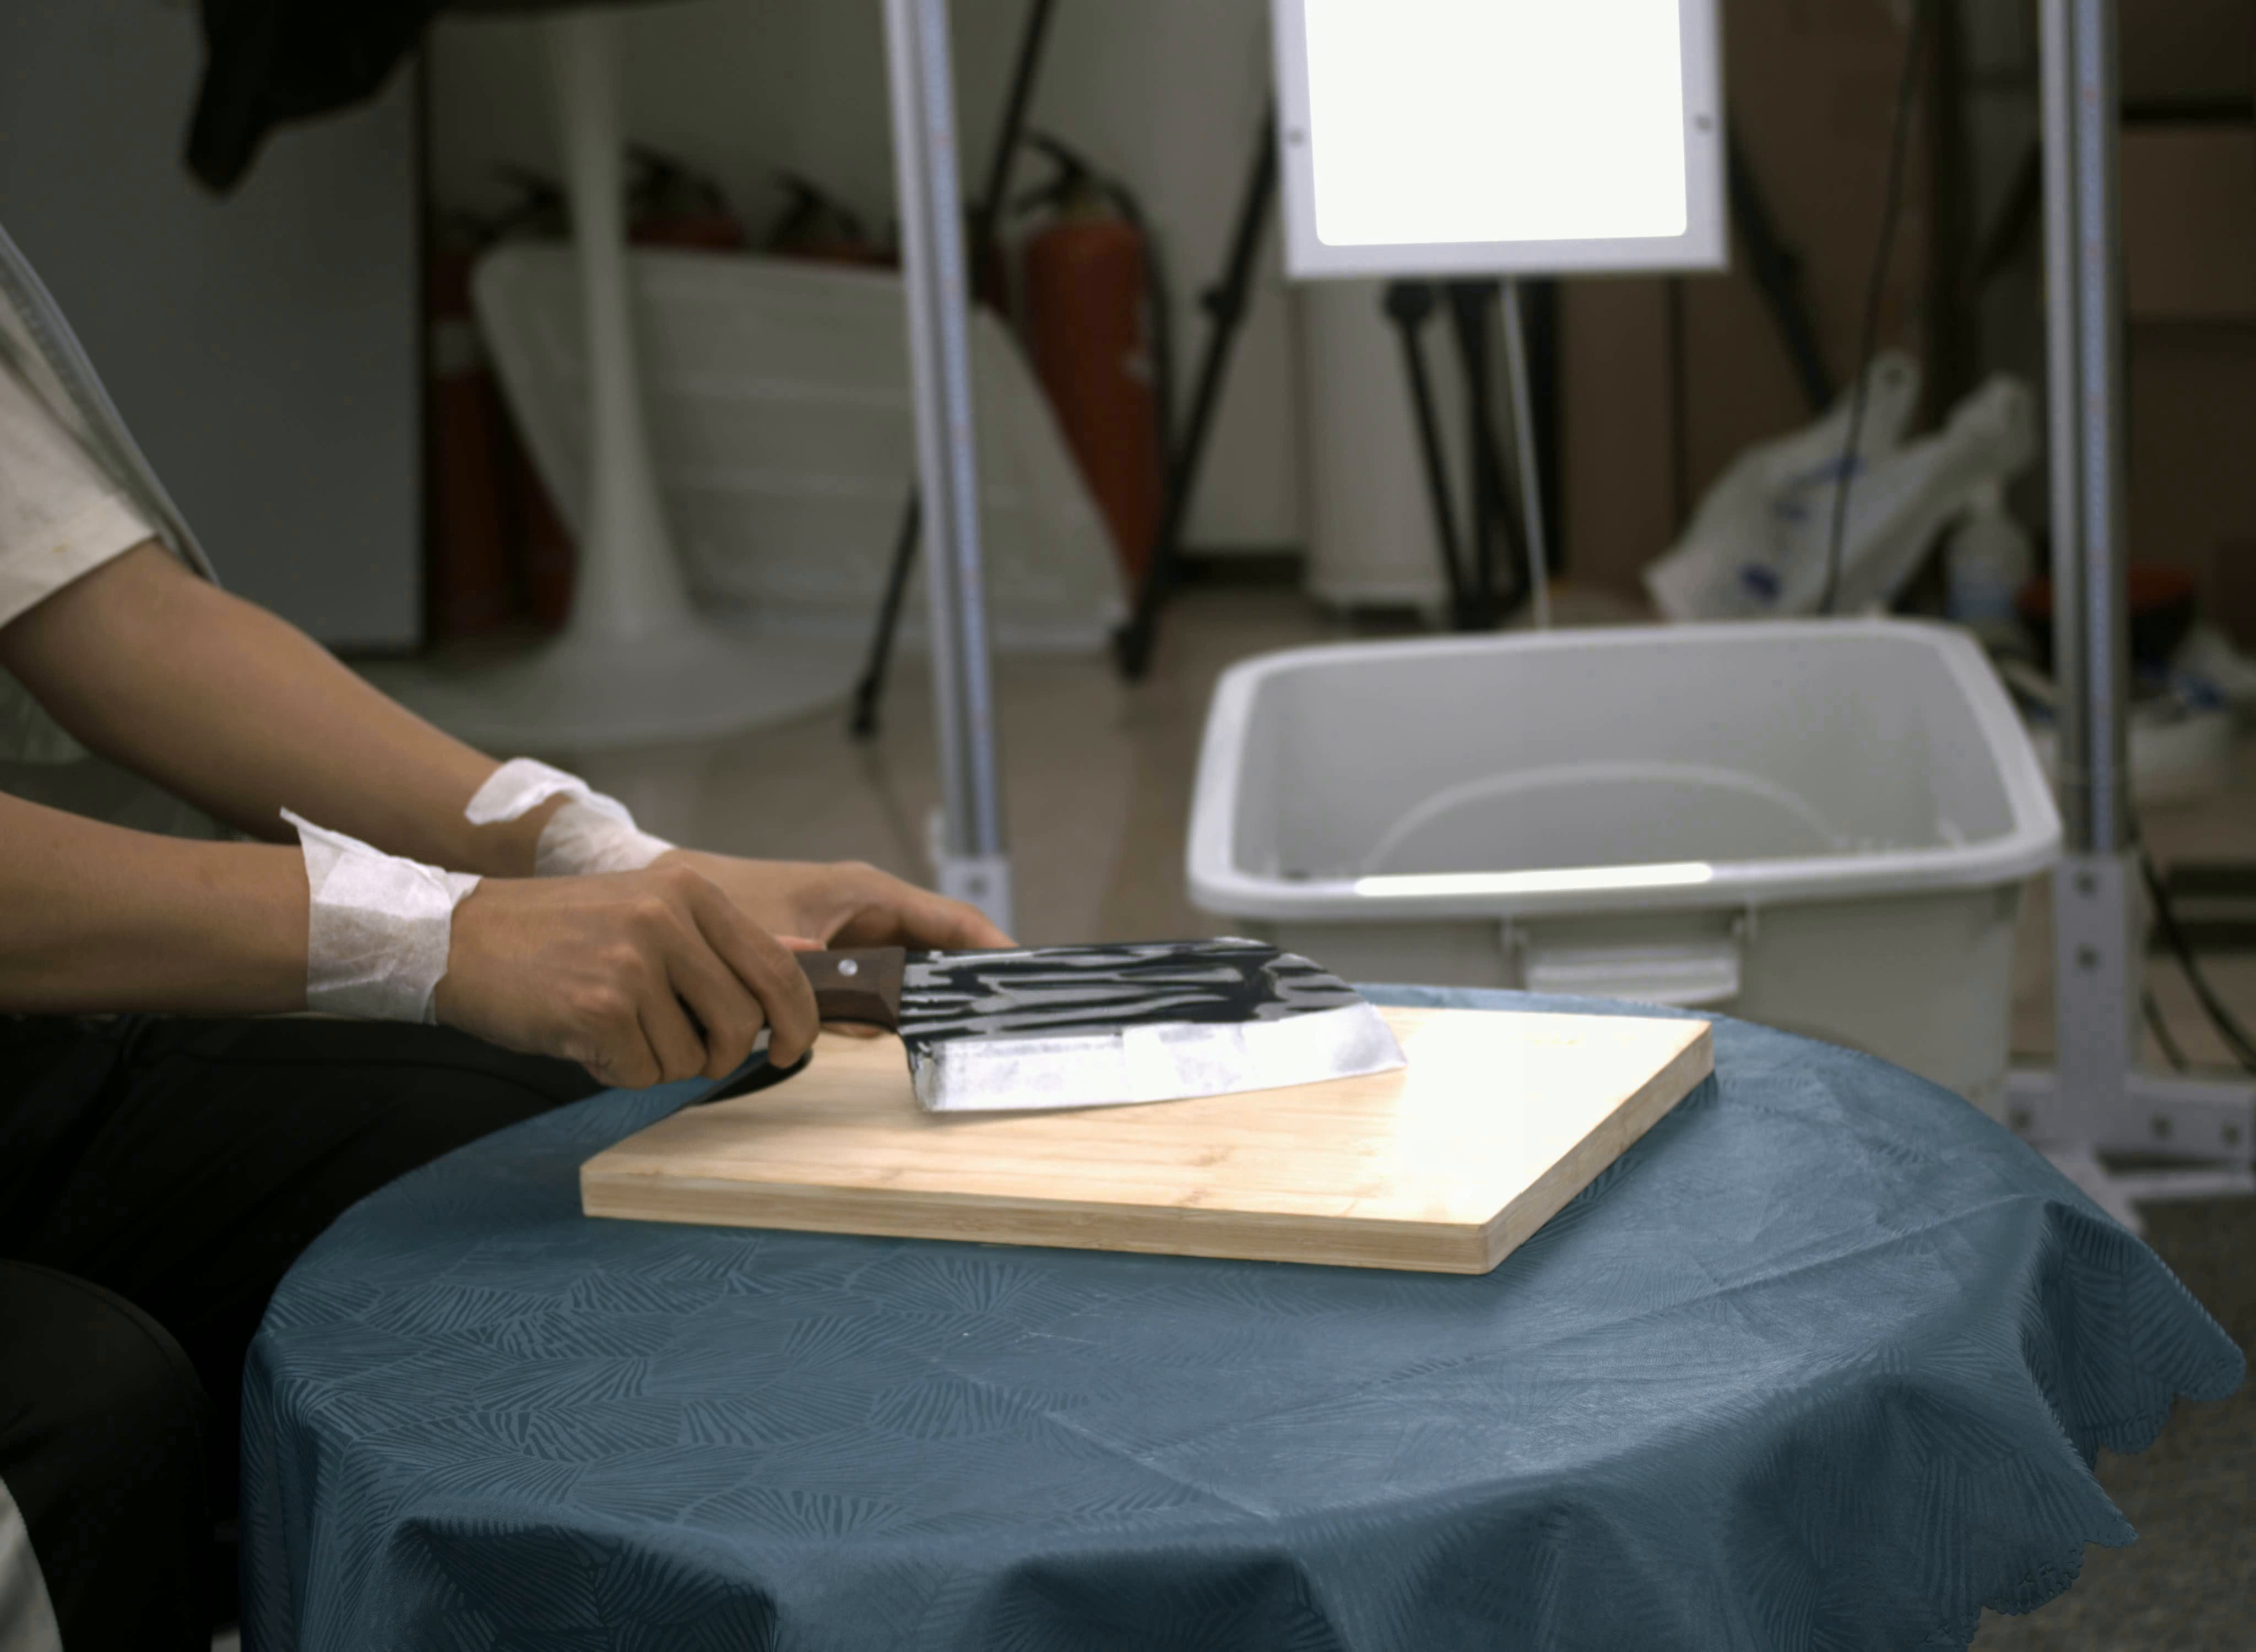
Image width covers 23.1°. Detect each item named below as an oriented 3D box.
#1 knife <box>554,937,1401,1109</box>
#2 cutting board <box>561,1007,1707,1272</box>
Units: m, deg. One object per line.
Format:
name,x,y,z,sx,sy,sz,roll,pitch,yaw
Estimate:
knife,-0.053,0.070,1.952,0.297,0.024,0.068,-2,56,-4
cutting board,0.006,0.104,1.955,0.354,0.023,0.246,1,15,25
